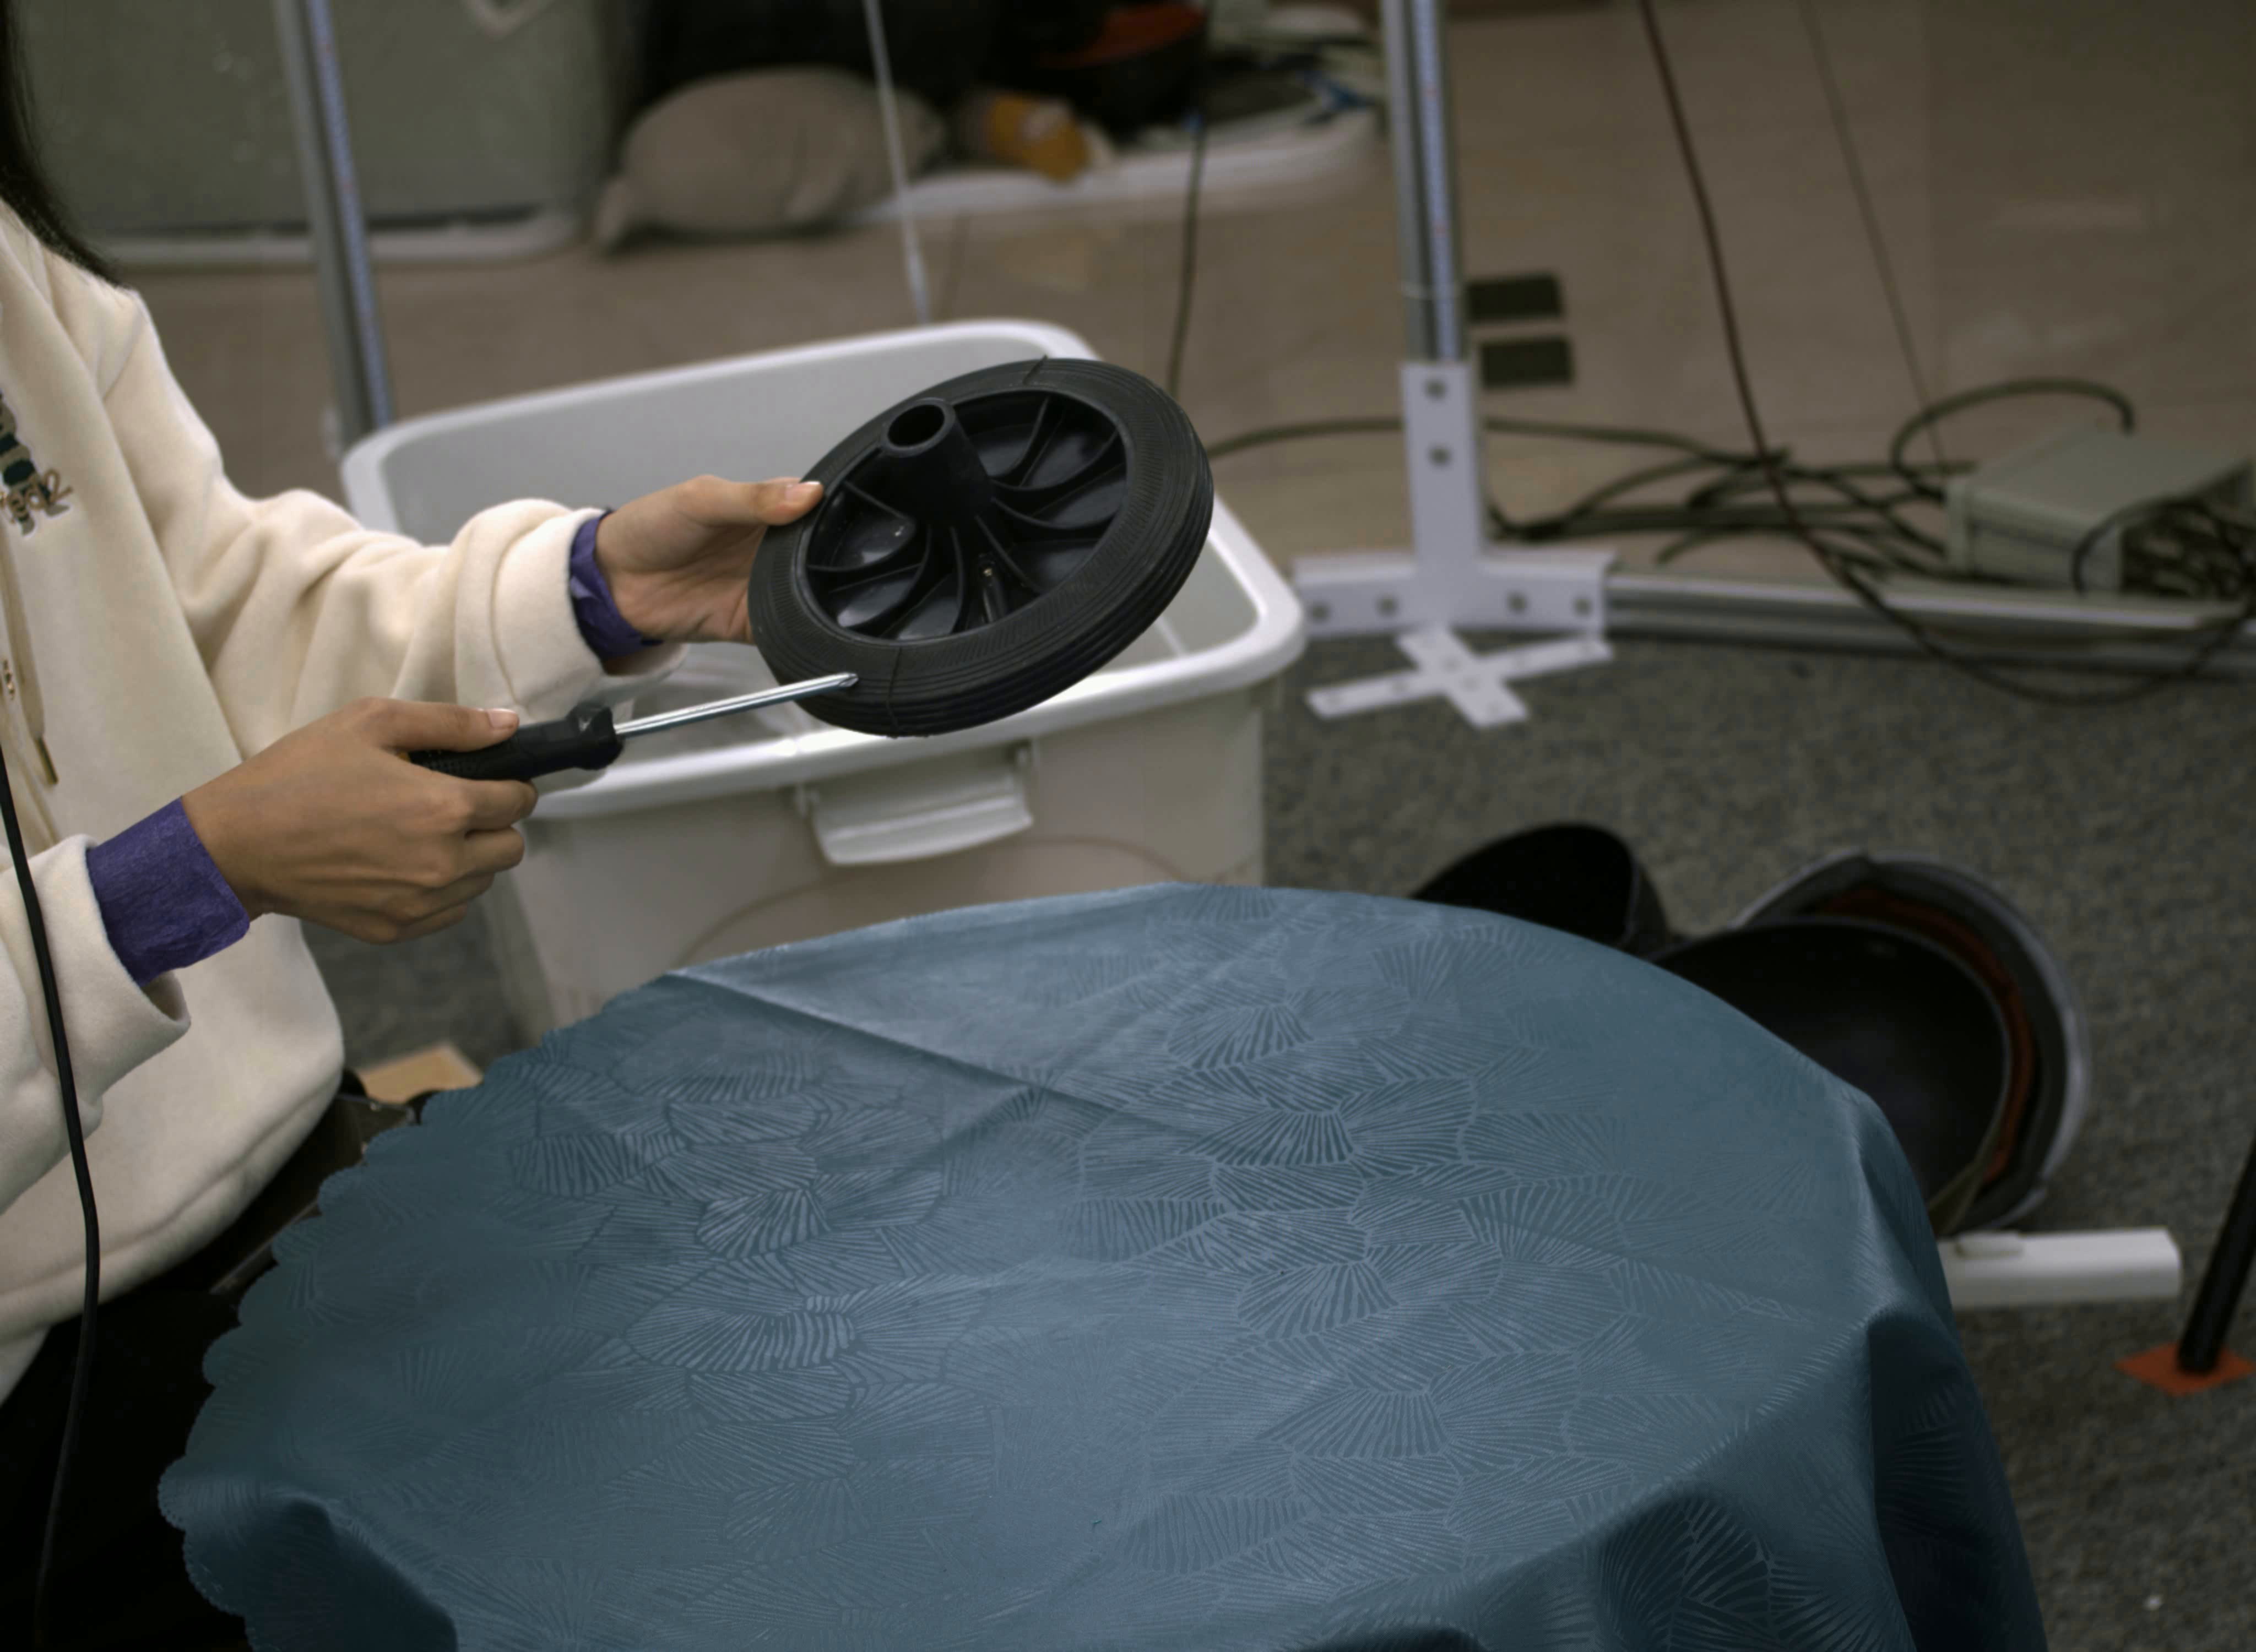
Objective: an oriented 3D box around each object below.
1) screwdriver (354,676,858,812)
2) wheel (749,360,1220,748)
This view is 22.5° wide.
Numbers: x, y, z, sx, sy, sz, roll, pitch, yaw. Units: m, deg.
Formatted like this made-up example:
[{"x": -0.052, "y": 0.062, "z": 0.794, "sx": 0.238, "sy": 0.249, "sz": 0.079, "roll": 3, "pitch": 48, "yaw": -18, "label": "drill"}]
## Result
[{"x": -0.189, "y": -0.037, "z": 2.079, "sx": 0.195, "sy": 0.032, "sz": 0.031, "roll": -14, "pitch": 26, "yaw": -18, "label": "screwdriver"}, {"x": -0.063, "y": -0.120, "z": 2.153, "sx": 0.186, "sy": 0.080, "sz": 0.187, "roll": -39, "pitch": 45, "yaw": -11, "label": "wheel"}]
